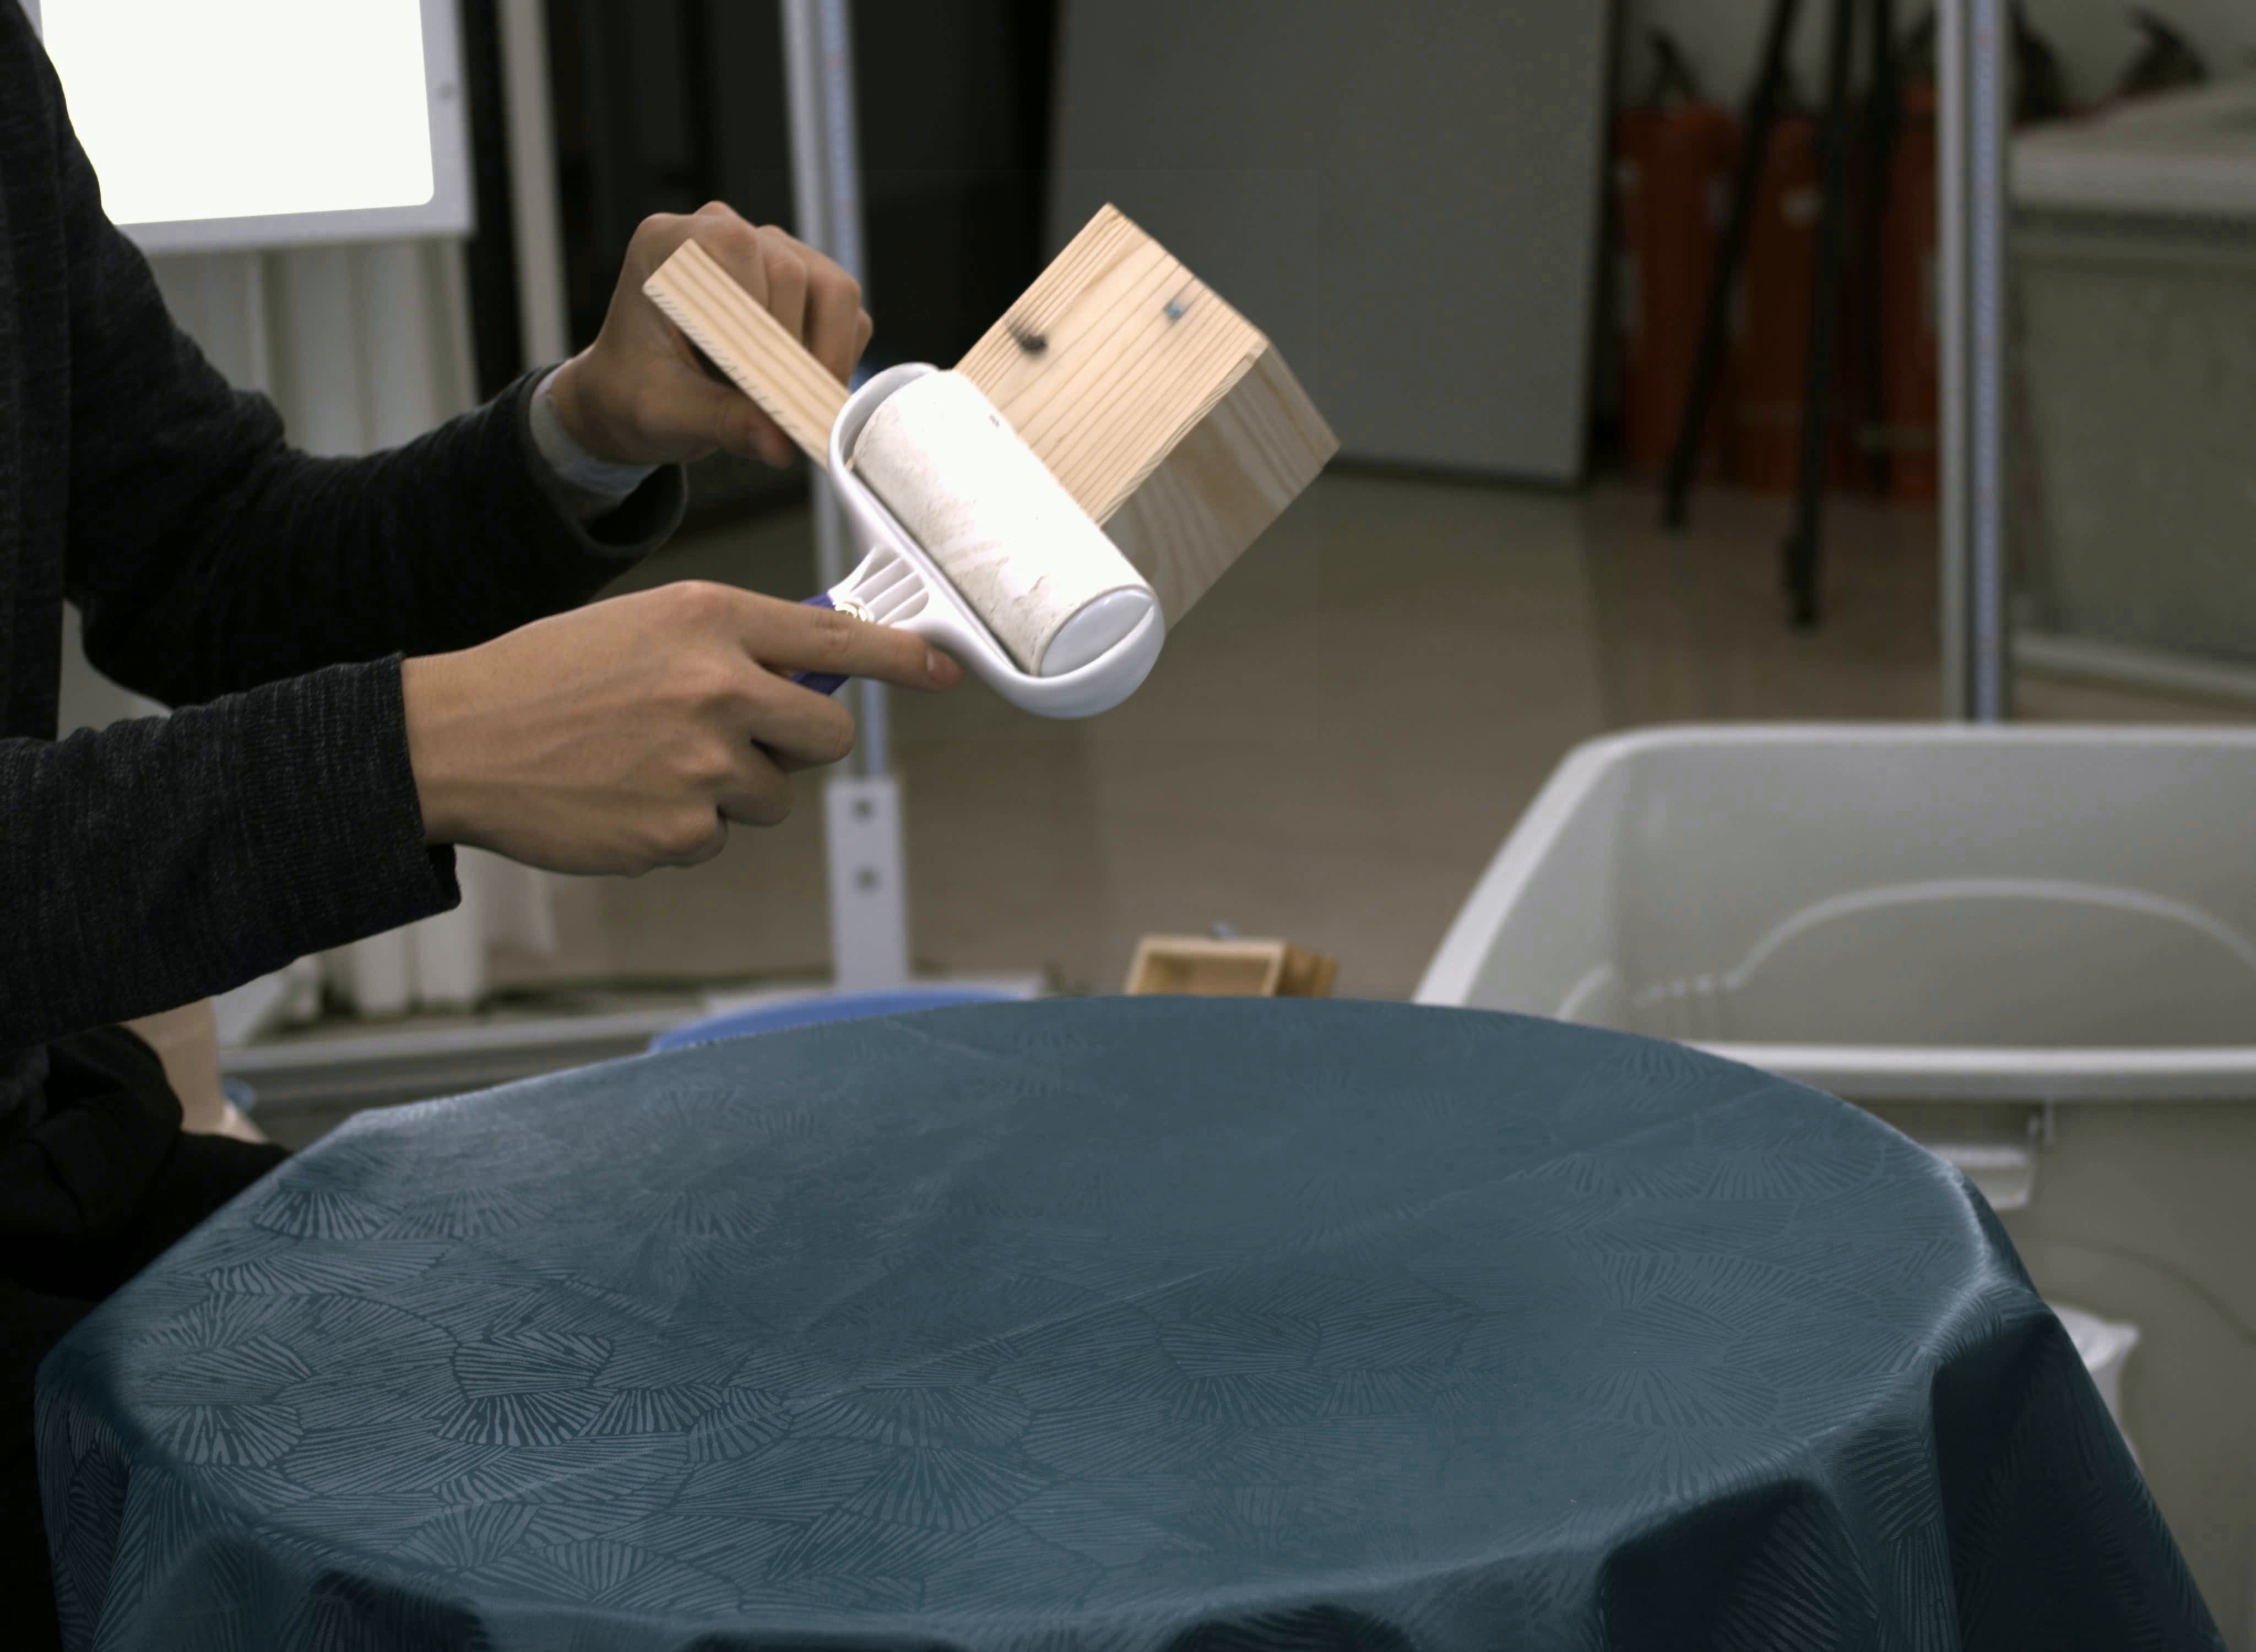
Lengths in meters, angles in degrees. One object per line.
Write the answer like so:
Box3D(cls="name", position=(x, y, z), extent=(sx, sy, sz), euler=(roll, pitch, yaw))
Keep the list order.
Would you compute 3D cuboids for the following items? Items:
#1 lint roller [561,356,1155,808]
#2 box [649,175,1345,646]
Box3D(cls="lint roller", position=(-0.093, -0.063, 1.616), extent=(0.178, 0.050, 0.134), euler=(-27, 59, -21))
Box3D(cls="box", position=(-0.042, -0.159, 1.781), extent=(0.186, 0.134, 0.101), euler=(41, -1, 23))
